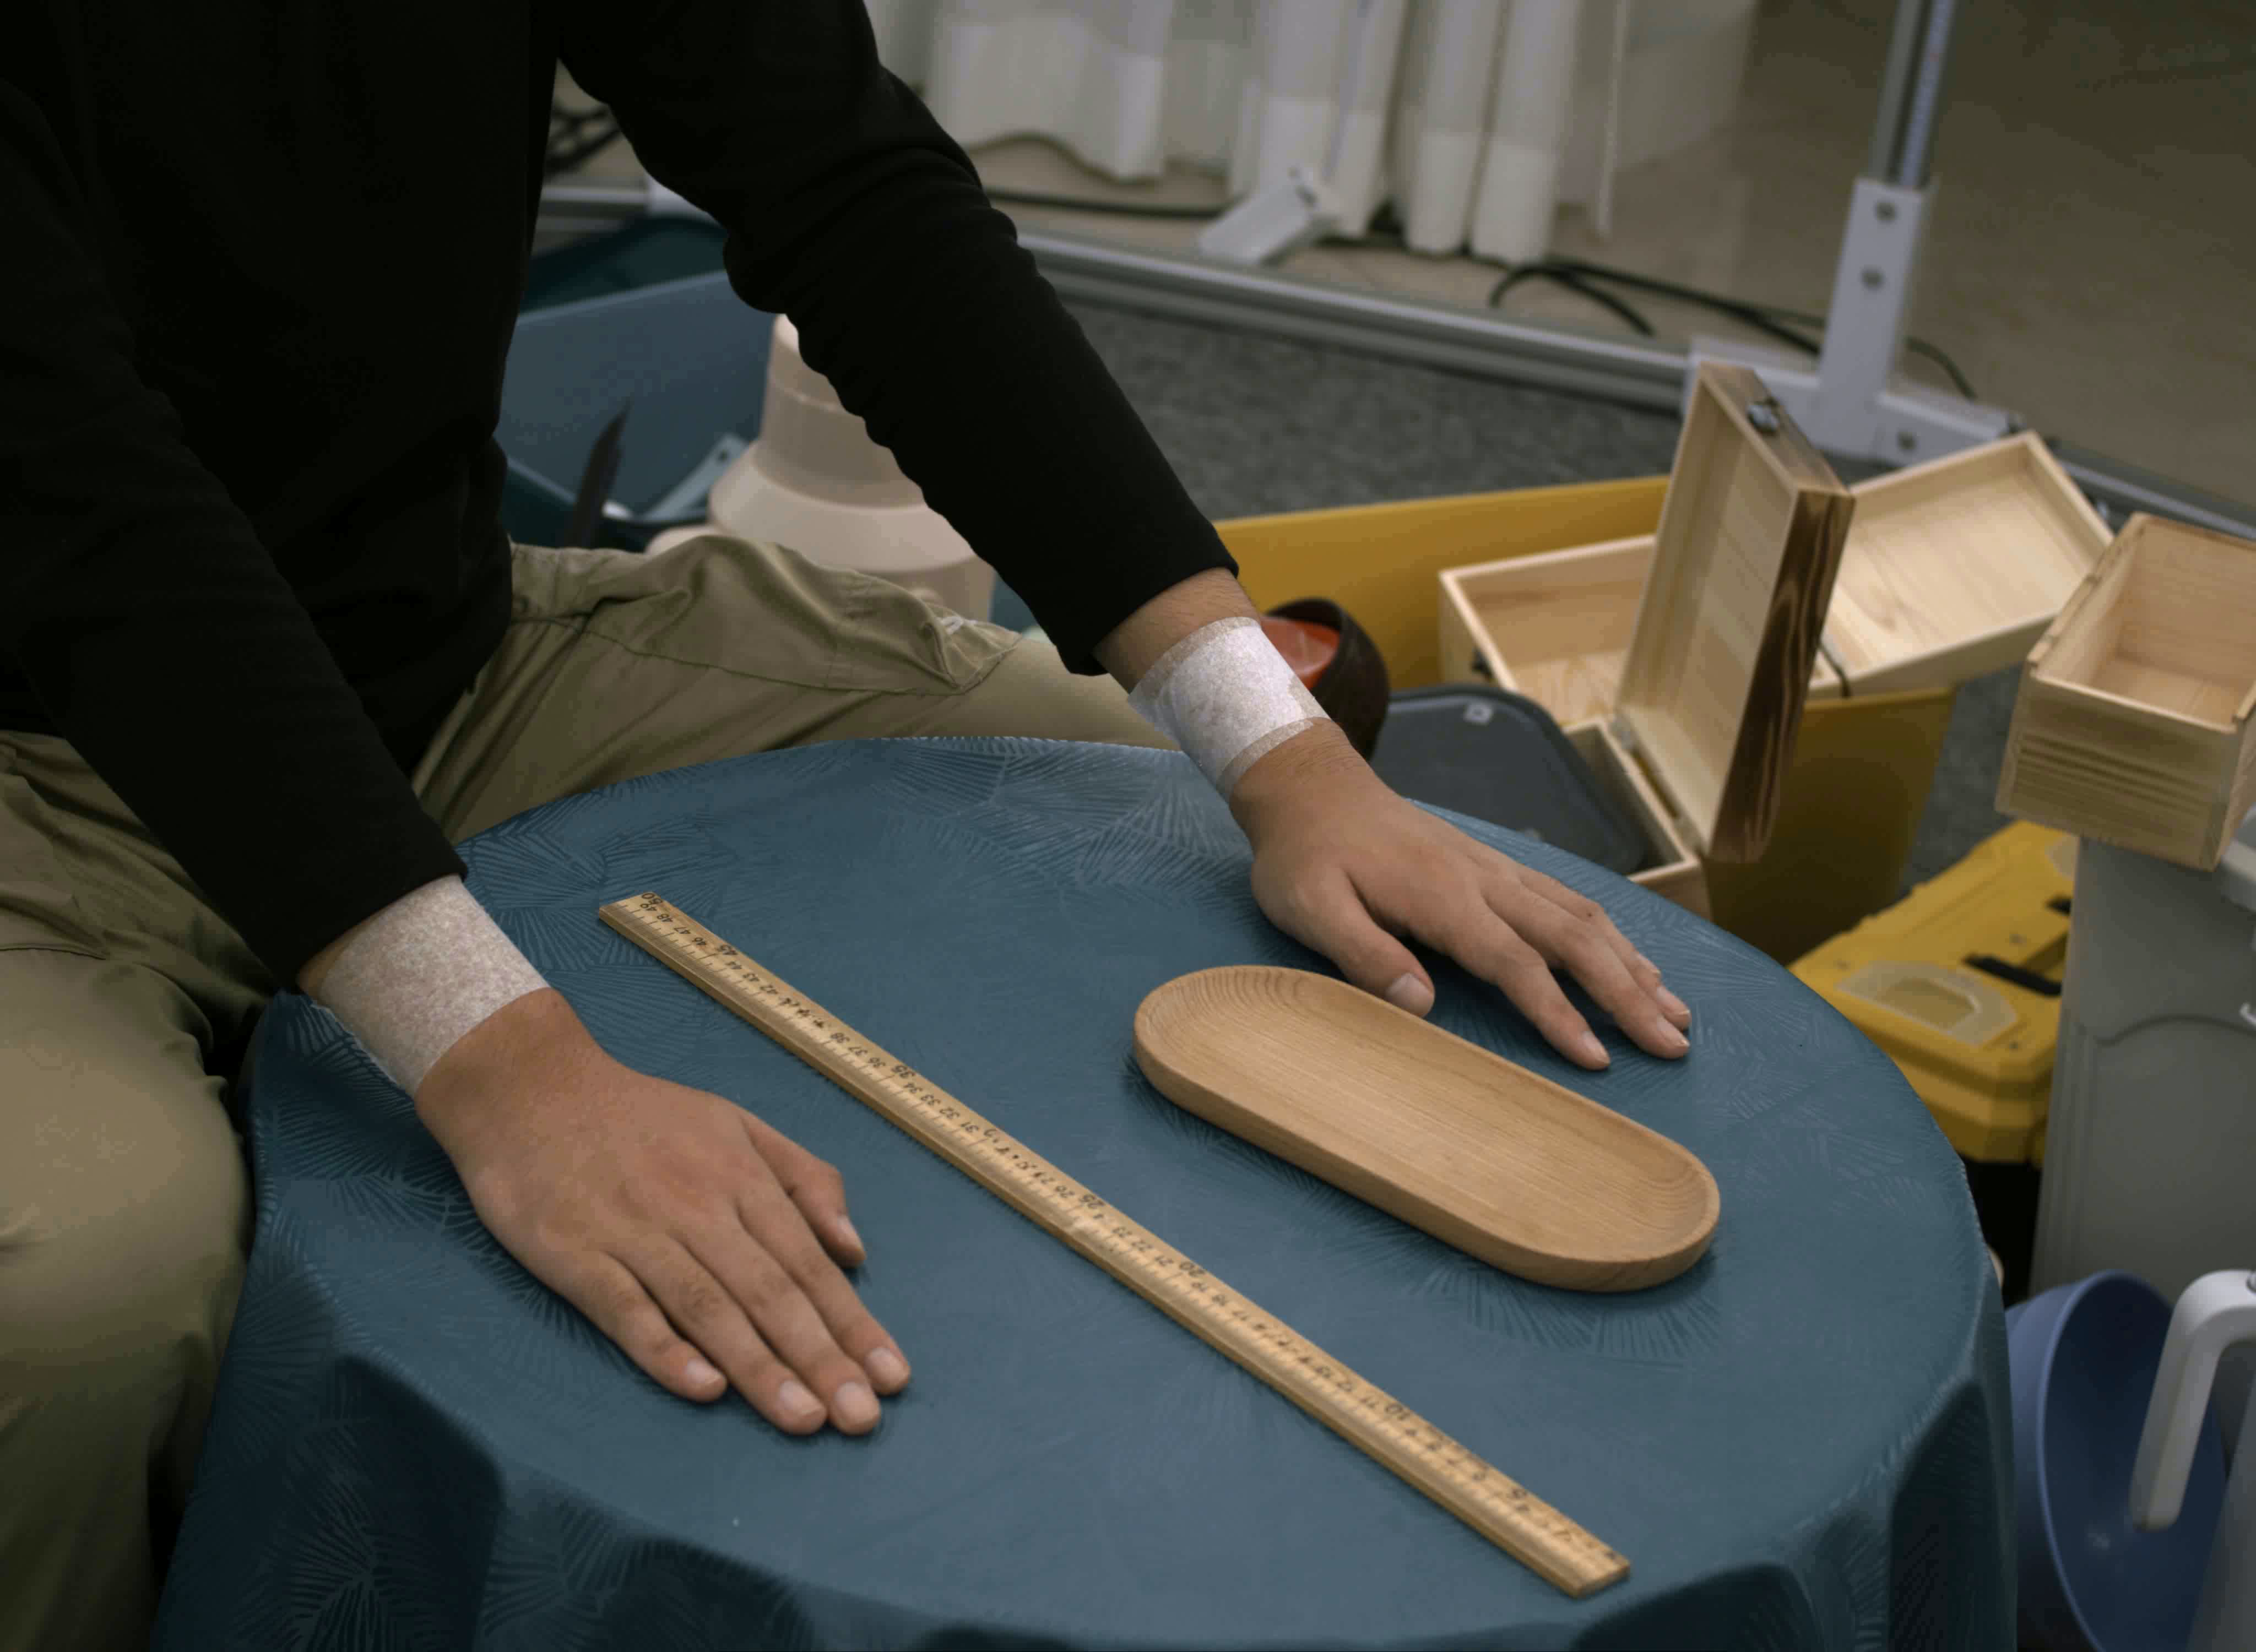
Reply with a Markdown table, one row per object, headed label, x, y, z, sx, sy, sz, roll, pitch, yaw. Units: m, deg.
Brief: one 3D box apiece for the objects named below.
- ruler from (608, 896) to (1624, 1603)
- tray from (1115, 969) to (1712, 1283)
| label | x | y | z | sx | sy | sz | roll | pitch | yaw |
| --- | --- | --- | --- | --- | --- | --- | --- | --- | --- |
| ruler | -0.018 | 0.130 | 1.780 | 0.026 | 0.006 | 0.504 | -14 | 33 | -39 |
| tray | 0.097 | 0.103 | 1.846 | 0.232 | 0.020 | 0.101 | 22 | 29 | 32 |
